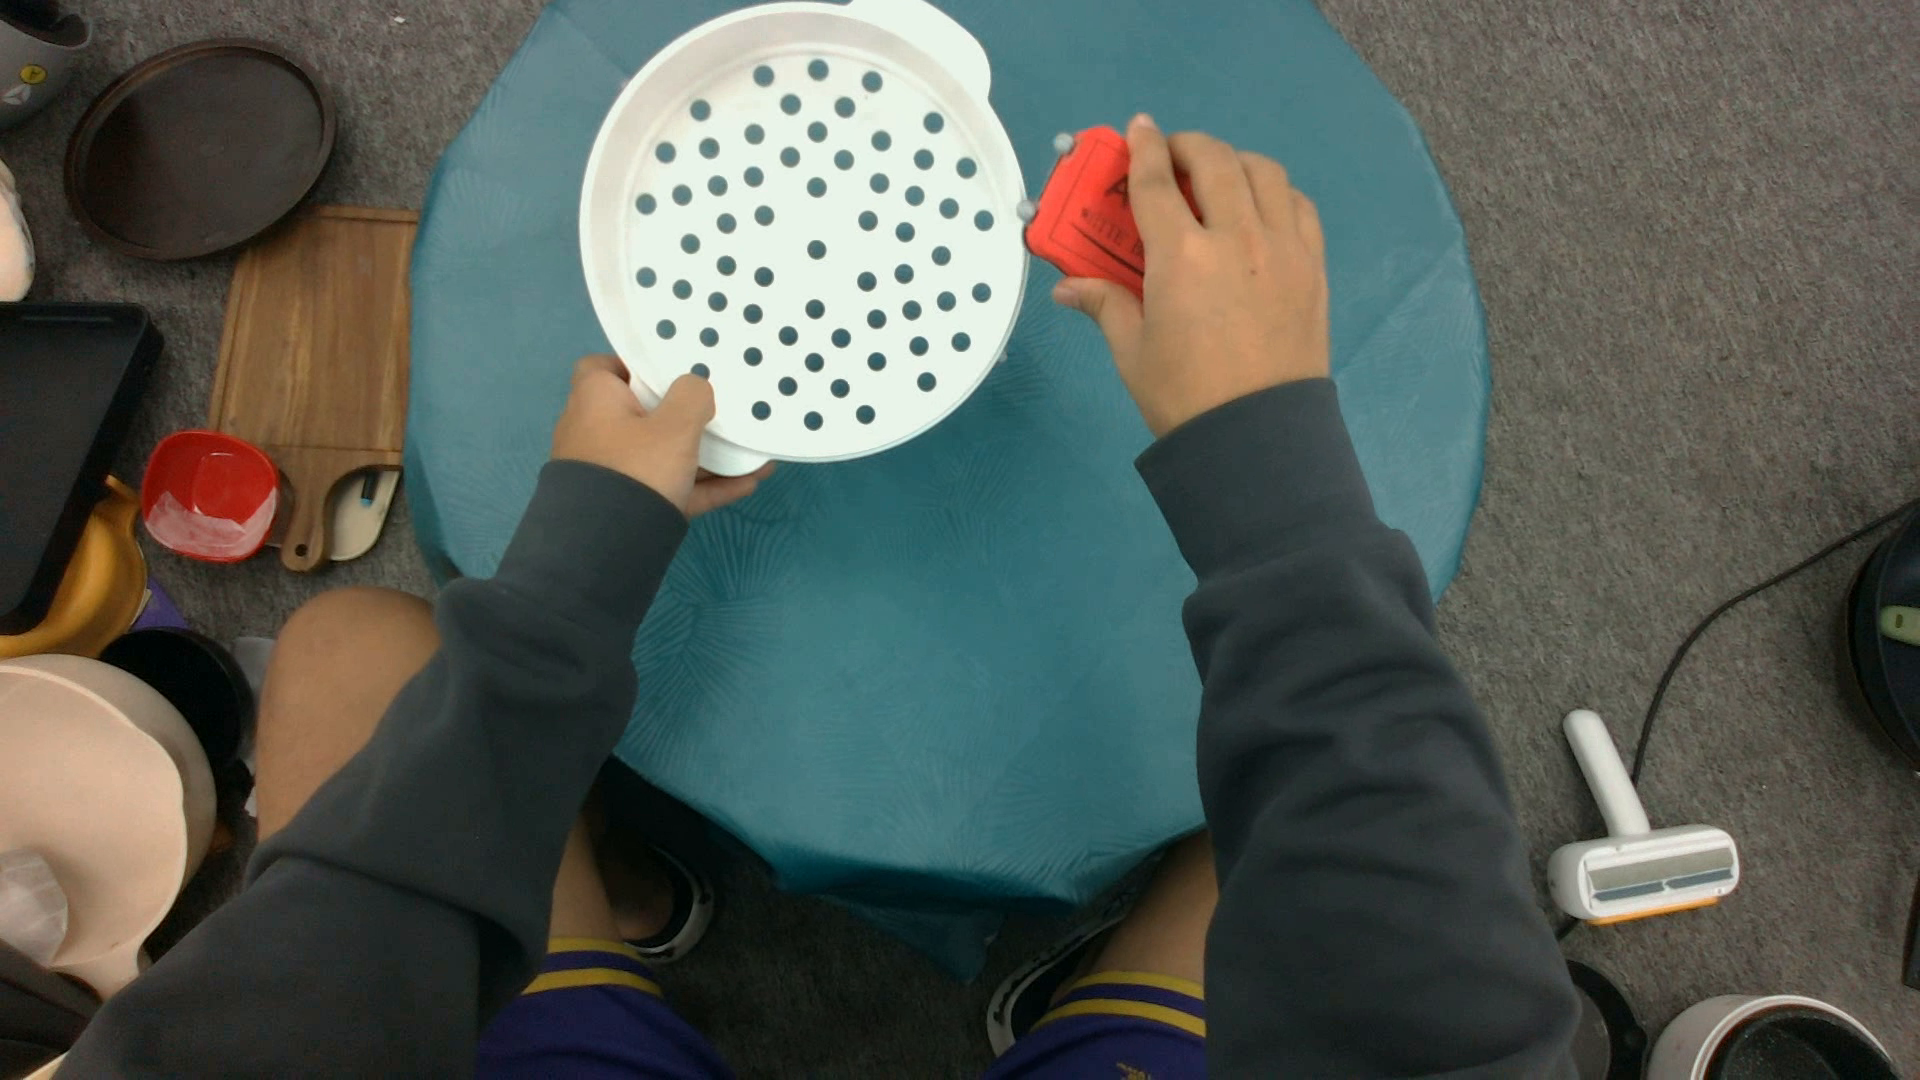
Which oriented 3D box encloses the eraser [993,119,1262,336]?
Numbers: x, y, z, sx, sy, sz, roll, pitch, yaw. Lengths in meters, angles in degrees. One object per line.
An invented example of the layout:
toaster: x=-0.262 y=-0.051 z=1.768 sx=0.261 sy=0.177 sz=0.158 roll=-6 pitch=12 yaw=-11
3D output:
eraser: x=0.072 y=-0.133 z=0.590 sx=0.108 sy=0.023 sz=0.059 roll=22 pitch=101 yaw=-19

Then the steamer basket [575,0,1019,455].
steamer basket: x=-0.074 y=-0.151 z=0.653 sx=0.202 sy=0.069 sz=0.230 roll=31 pitch=98 yaw=-11
